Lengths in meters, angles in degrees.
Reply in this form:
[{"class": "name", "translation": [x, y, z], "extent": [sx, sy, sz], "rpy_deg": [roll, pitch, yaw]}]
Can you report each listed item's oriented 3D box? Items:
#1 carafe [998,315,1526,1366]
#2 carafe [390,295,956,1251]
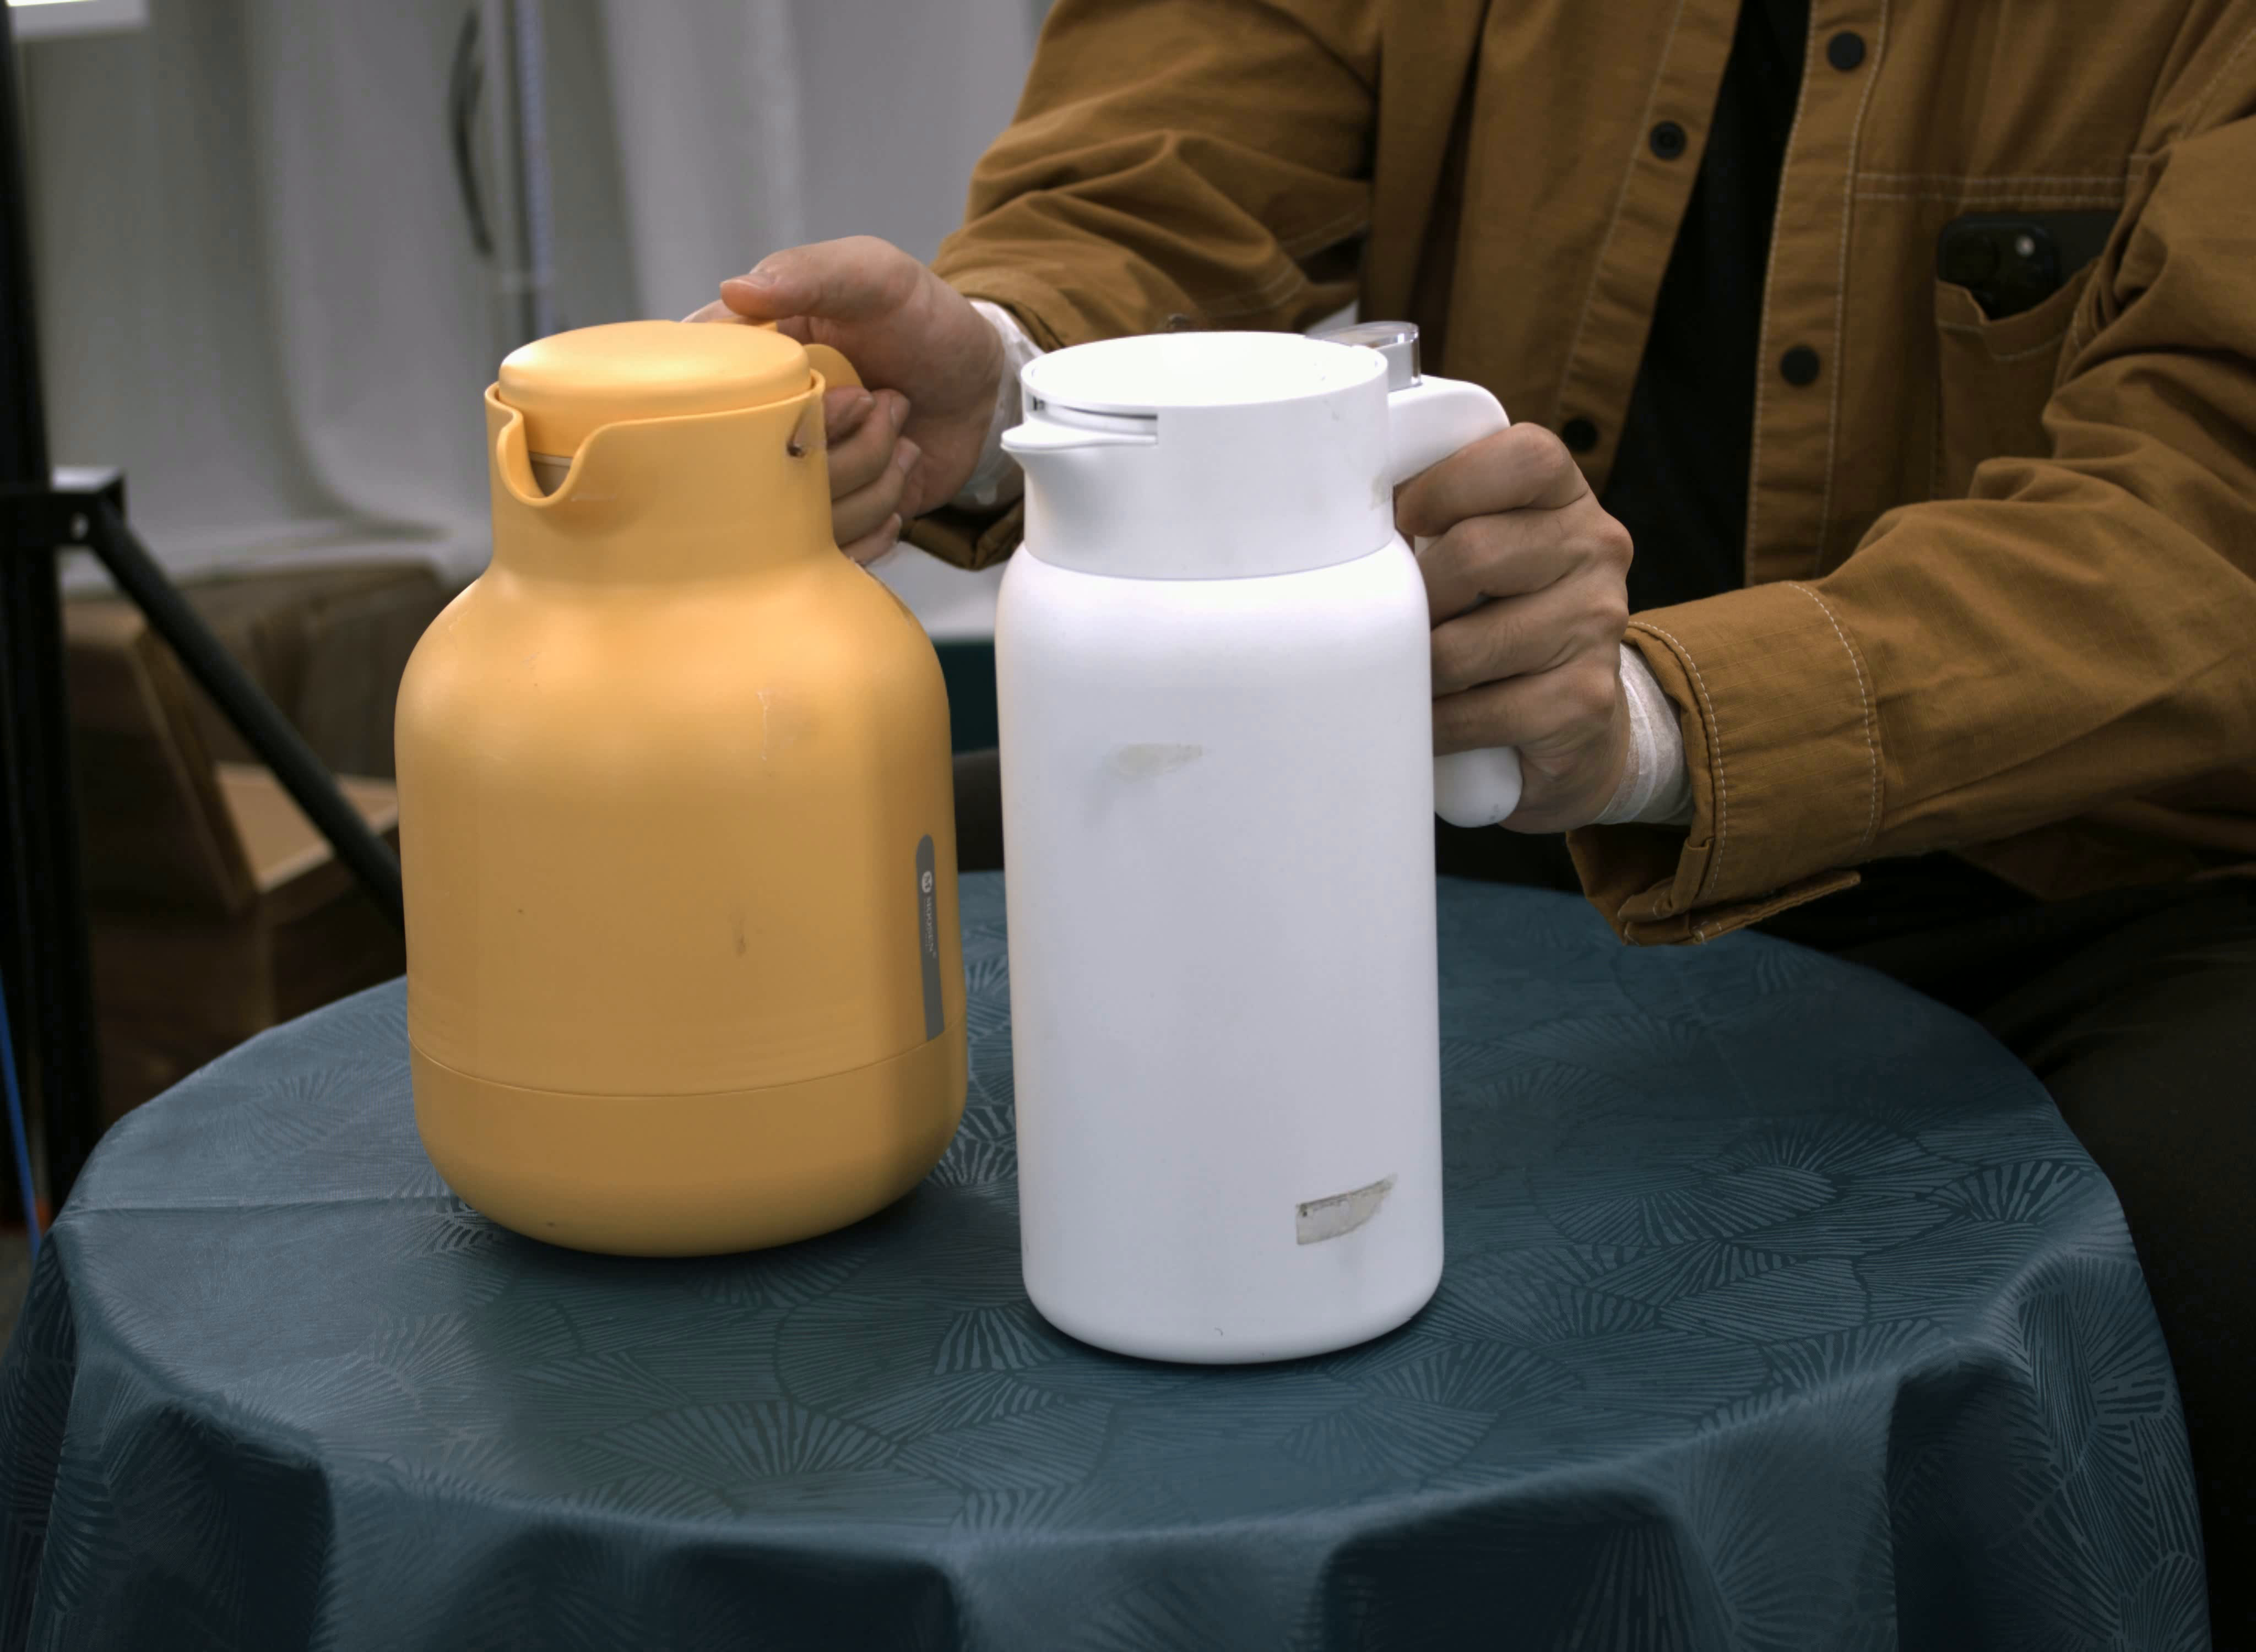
[{"class": "carafe", "translation": [0.038, -0.001, 1.442], "extent": [0.169, 0.269, 0.126], "rpy_deg": [-14, 17, -39]}, {"class": "carafe", "translation": [-0.122, -0.023, 1.555], "extent": [0.166, 0.260, 0.199], "rpy_deg": [9, 20, 25]}]
